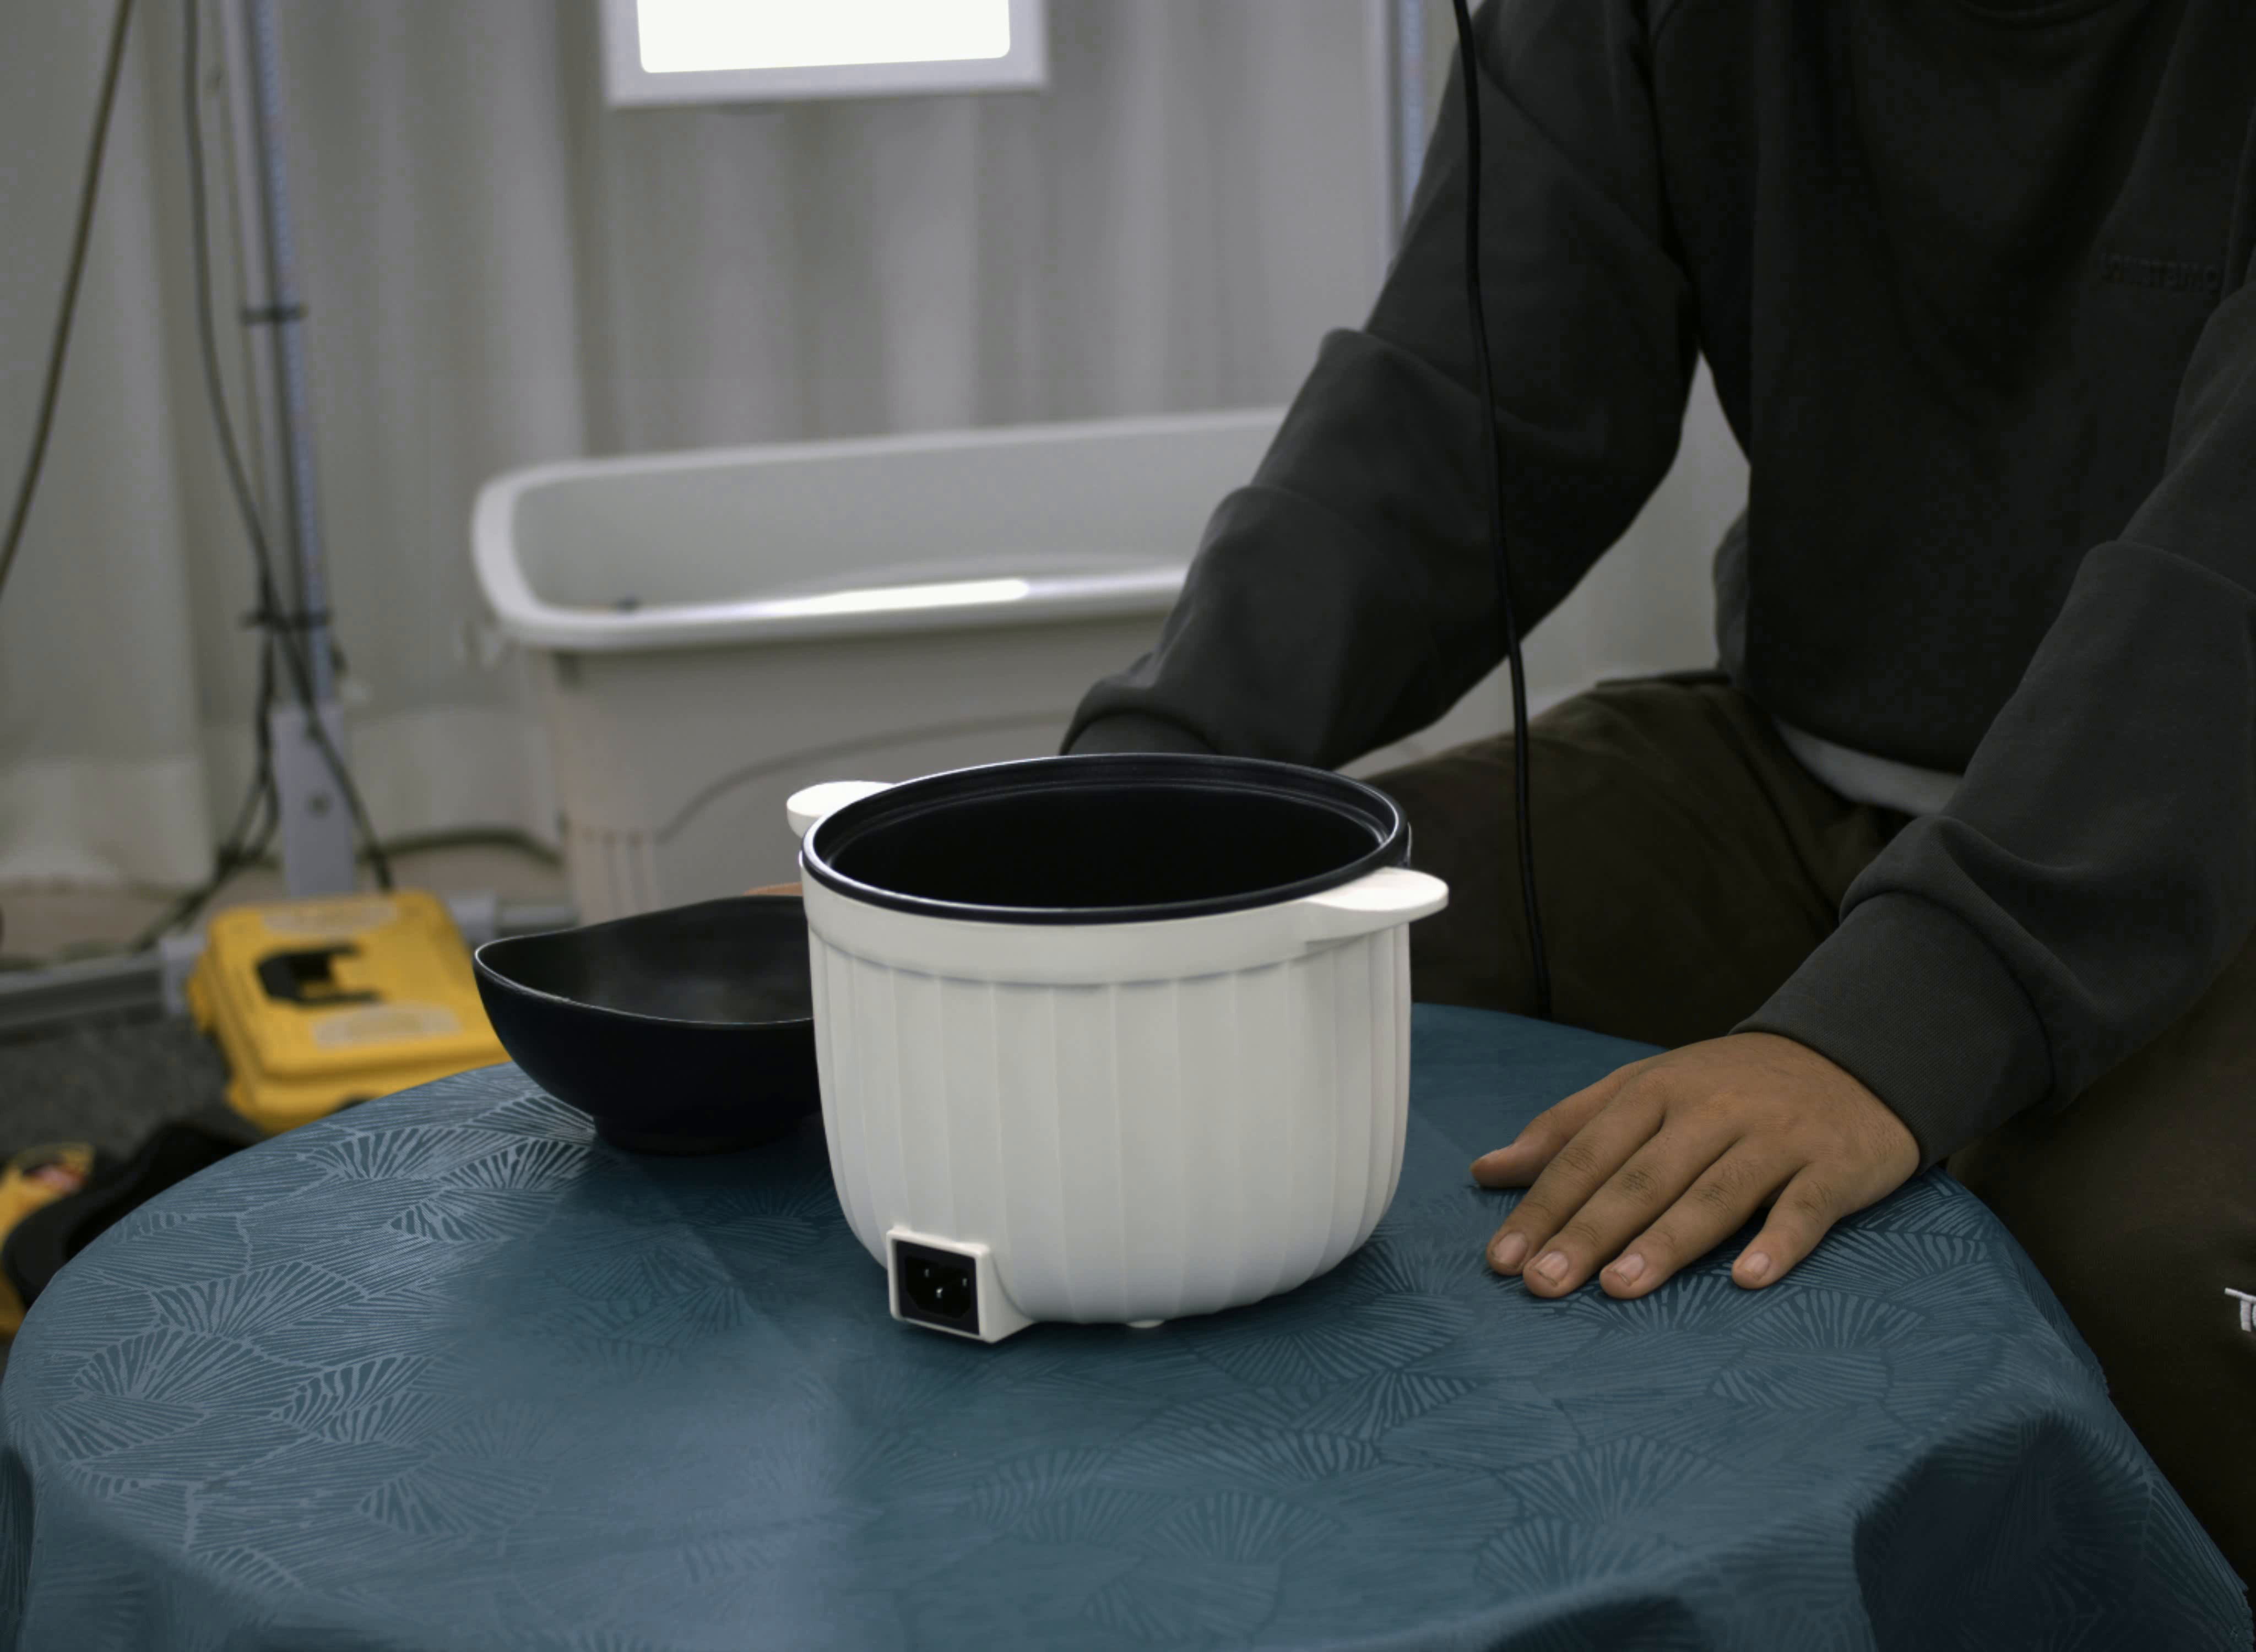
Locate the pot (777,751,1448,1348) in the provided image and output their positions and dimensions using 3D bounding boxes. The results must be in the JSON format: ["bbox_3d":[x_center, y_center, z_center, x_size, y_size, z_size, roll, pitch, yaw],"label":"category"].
[{"bbox_3d":[-0.003,0.064,1.643,0.241,0.142,0.190,10,22,36],"label":"pot"}]

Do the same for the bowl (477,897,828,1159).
[{"bbox_3d":[-0.141,0.069,1.790,0.137,0.066,0.171,-11,15,-31],"label":"bowl"}]
